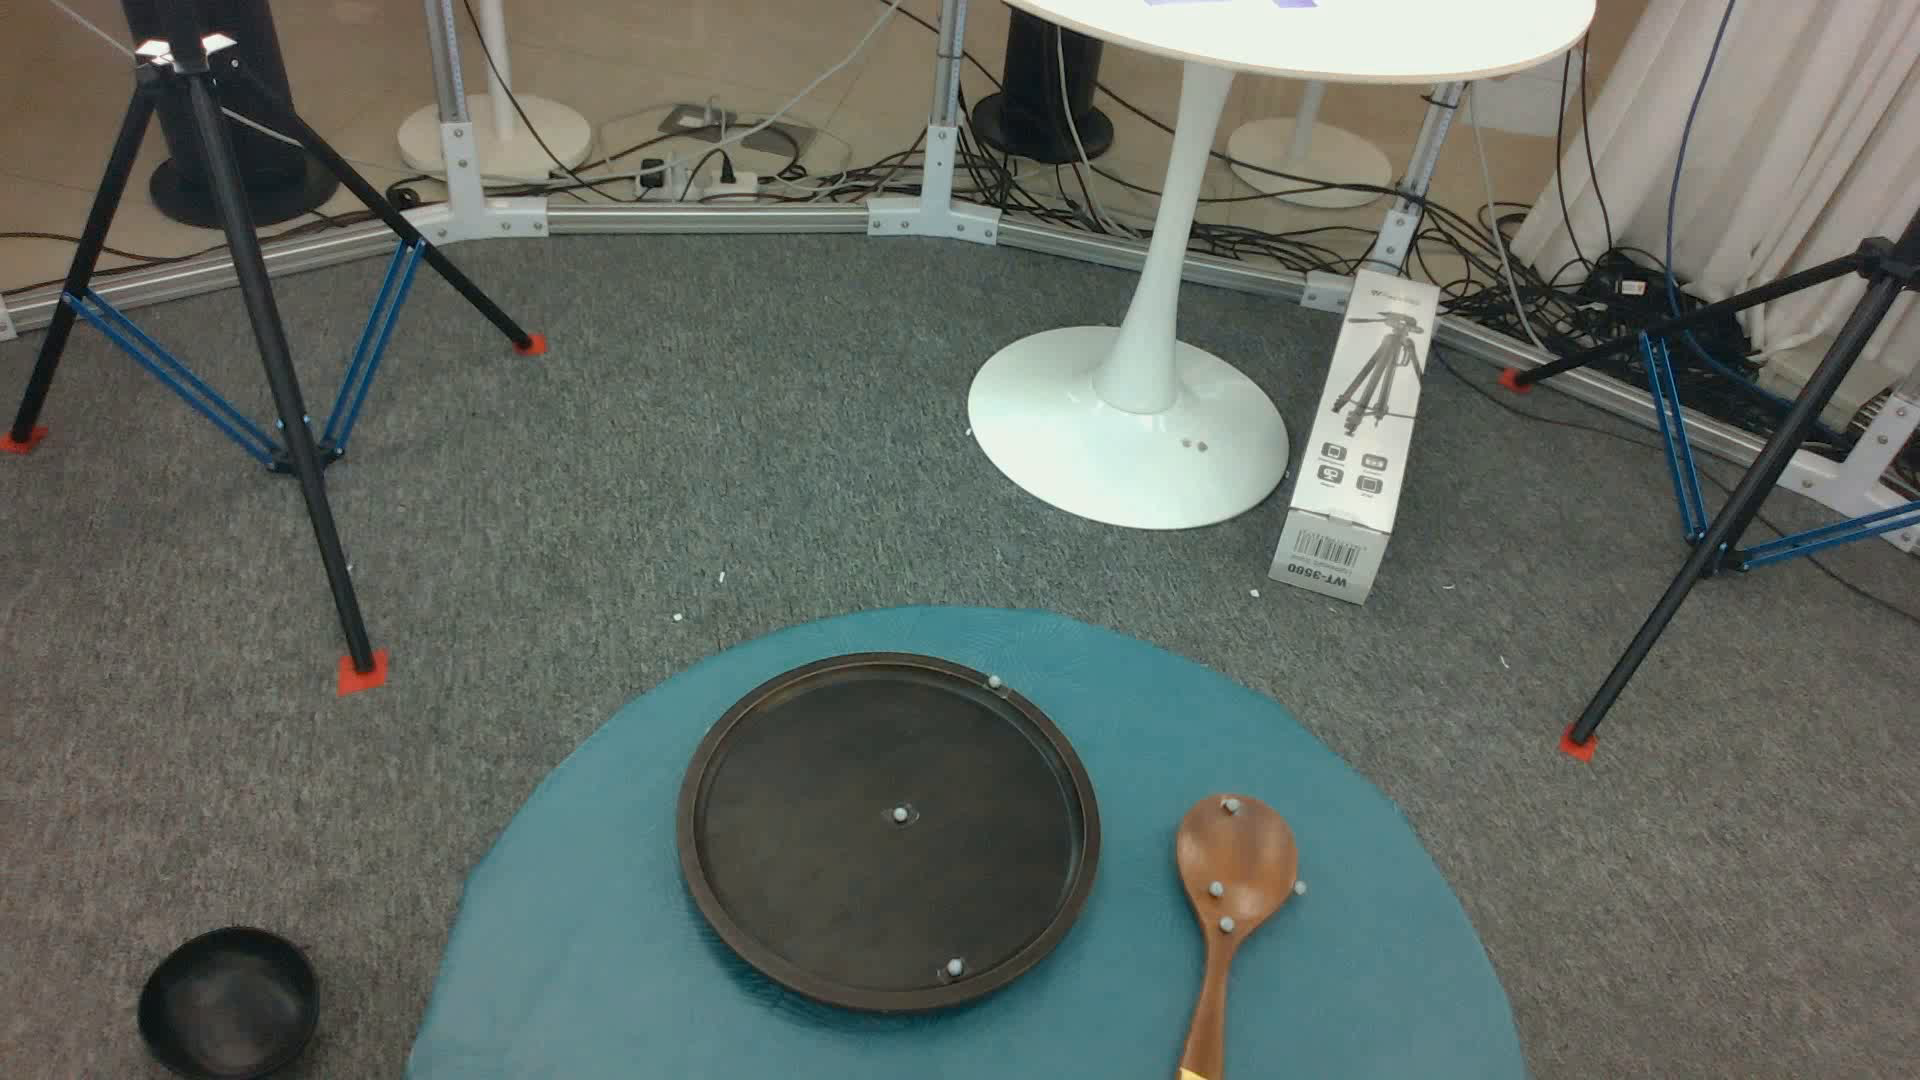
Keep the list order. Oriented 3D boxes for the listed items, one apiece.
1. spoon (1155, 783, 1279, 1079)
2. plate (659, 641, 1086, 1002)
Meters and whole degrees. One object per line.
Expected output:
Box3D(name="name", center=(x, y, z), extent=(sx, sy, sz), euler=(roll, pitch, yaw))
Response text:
Box3D(name="spoon", center=(0.139, 0.228, 0.790), extent=(0.075, 0.017, 0.217), euler=(16, 43, 6))
Box3D(name="plate", center=(-0.051, 0.160, 0.825), extent=(0.255, 0.029, 0.256), euler=(5, 42, -4))
